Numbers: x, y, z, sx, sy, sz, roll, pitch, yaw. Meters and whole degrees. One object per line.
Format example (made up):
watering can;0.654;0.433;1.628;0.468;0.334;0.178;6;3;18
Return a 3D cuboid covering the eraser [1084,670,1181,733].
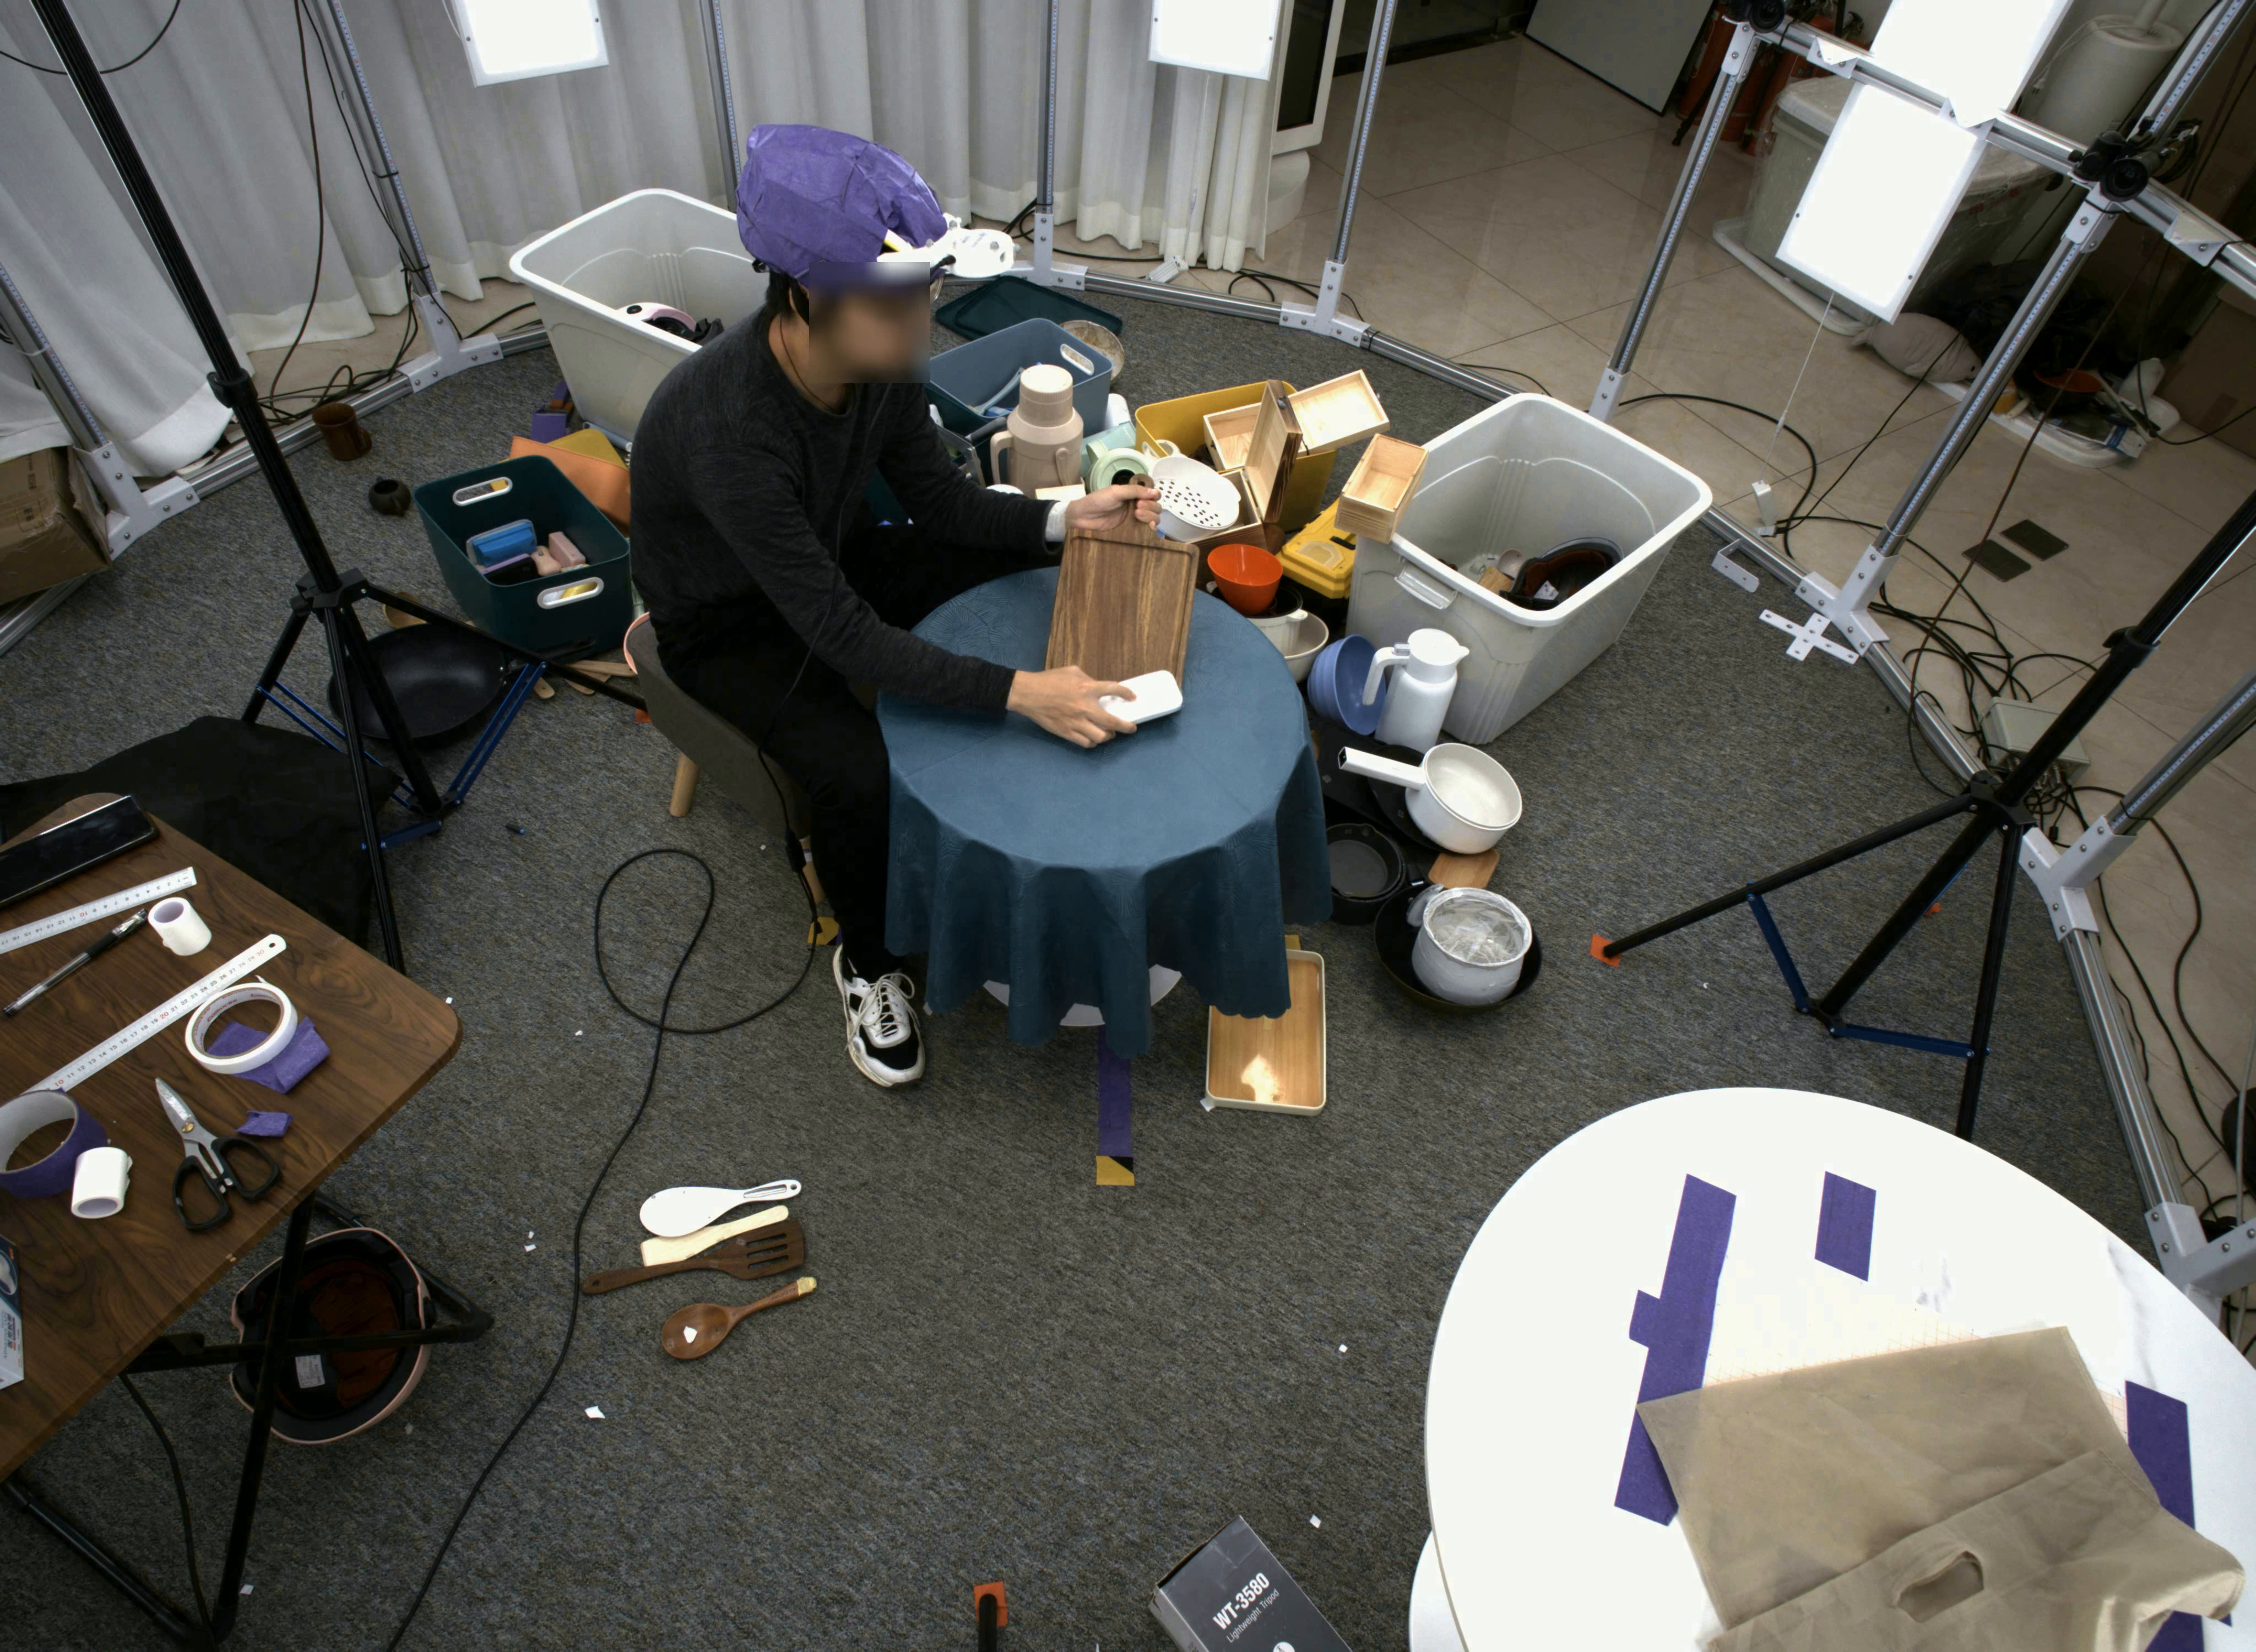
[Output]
eraser;0.006;-0.174;1.782;0.131;0.034;0.064;-16;69;-8

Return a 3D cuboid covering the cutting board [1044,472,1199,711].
cutting board;-0.002;-0.345;1.852;0.201;0.023;0.356;8;76;2
